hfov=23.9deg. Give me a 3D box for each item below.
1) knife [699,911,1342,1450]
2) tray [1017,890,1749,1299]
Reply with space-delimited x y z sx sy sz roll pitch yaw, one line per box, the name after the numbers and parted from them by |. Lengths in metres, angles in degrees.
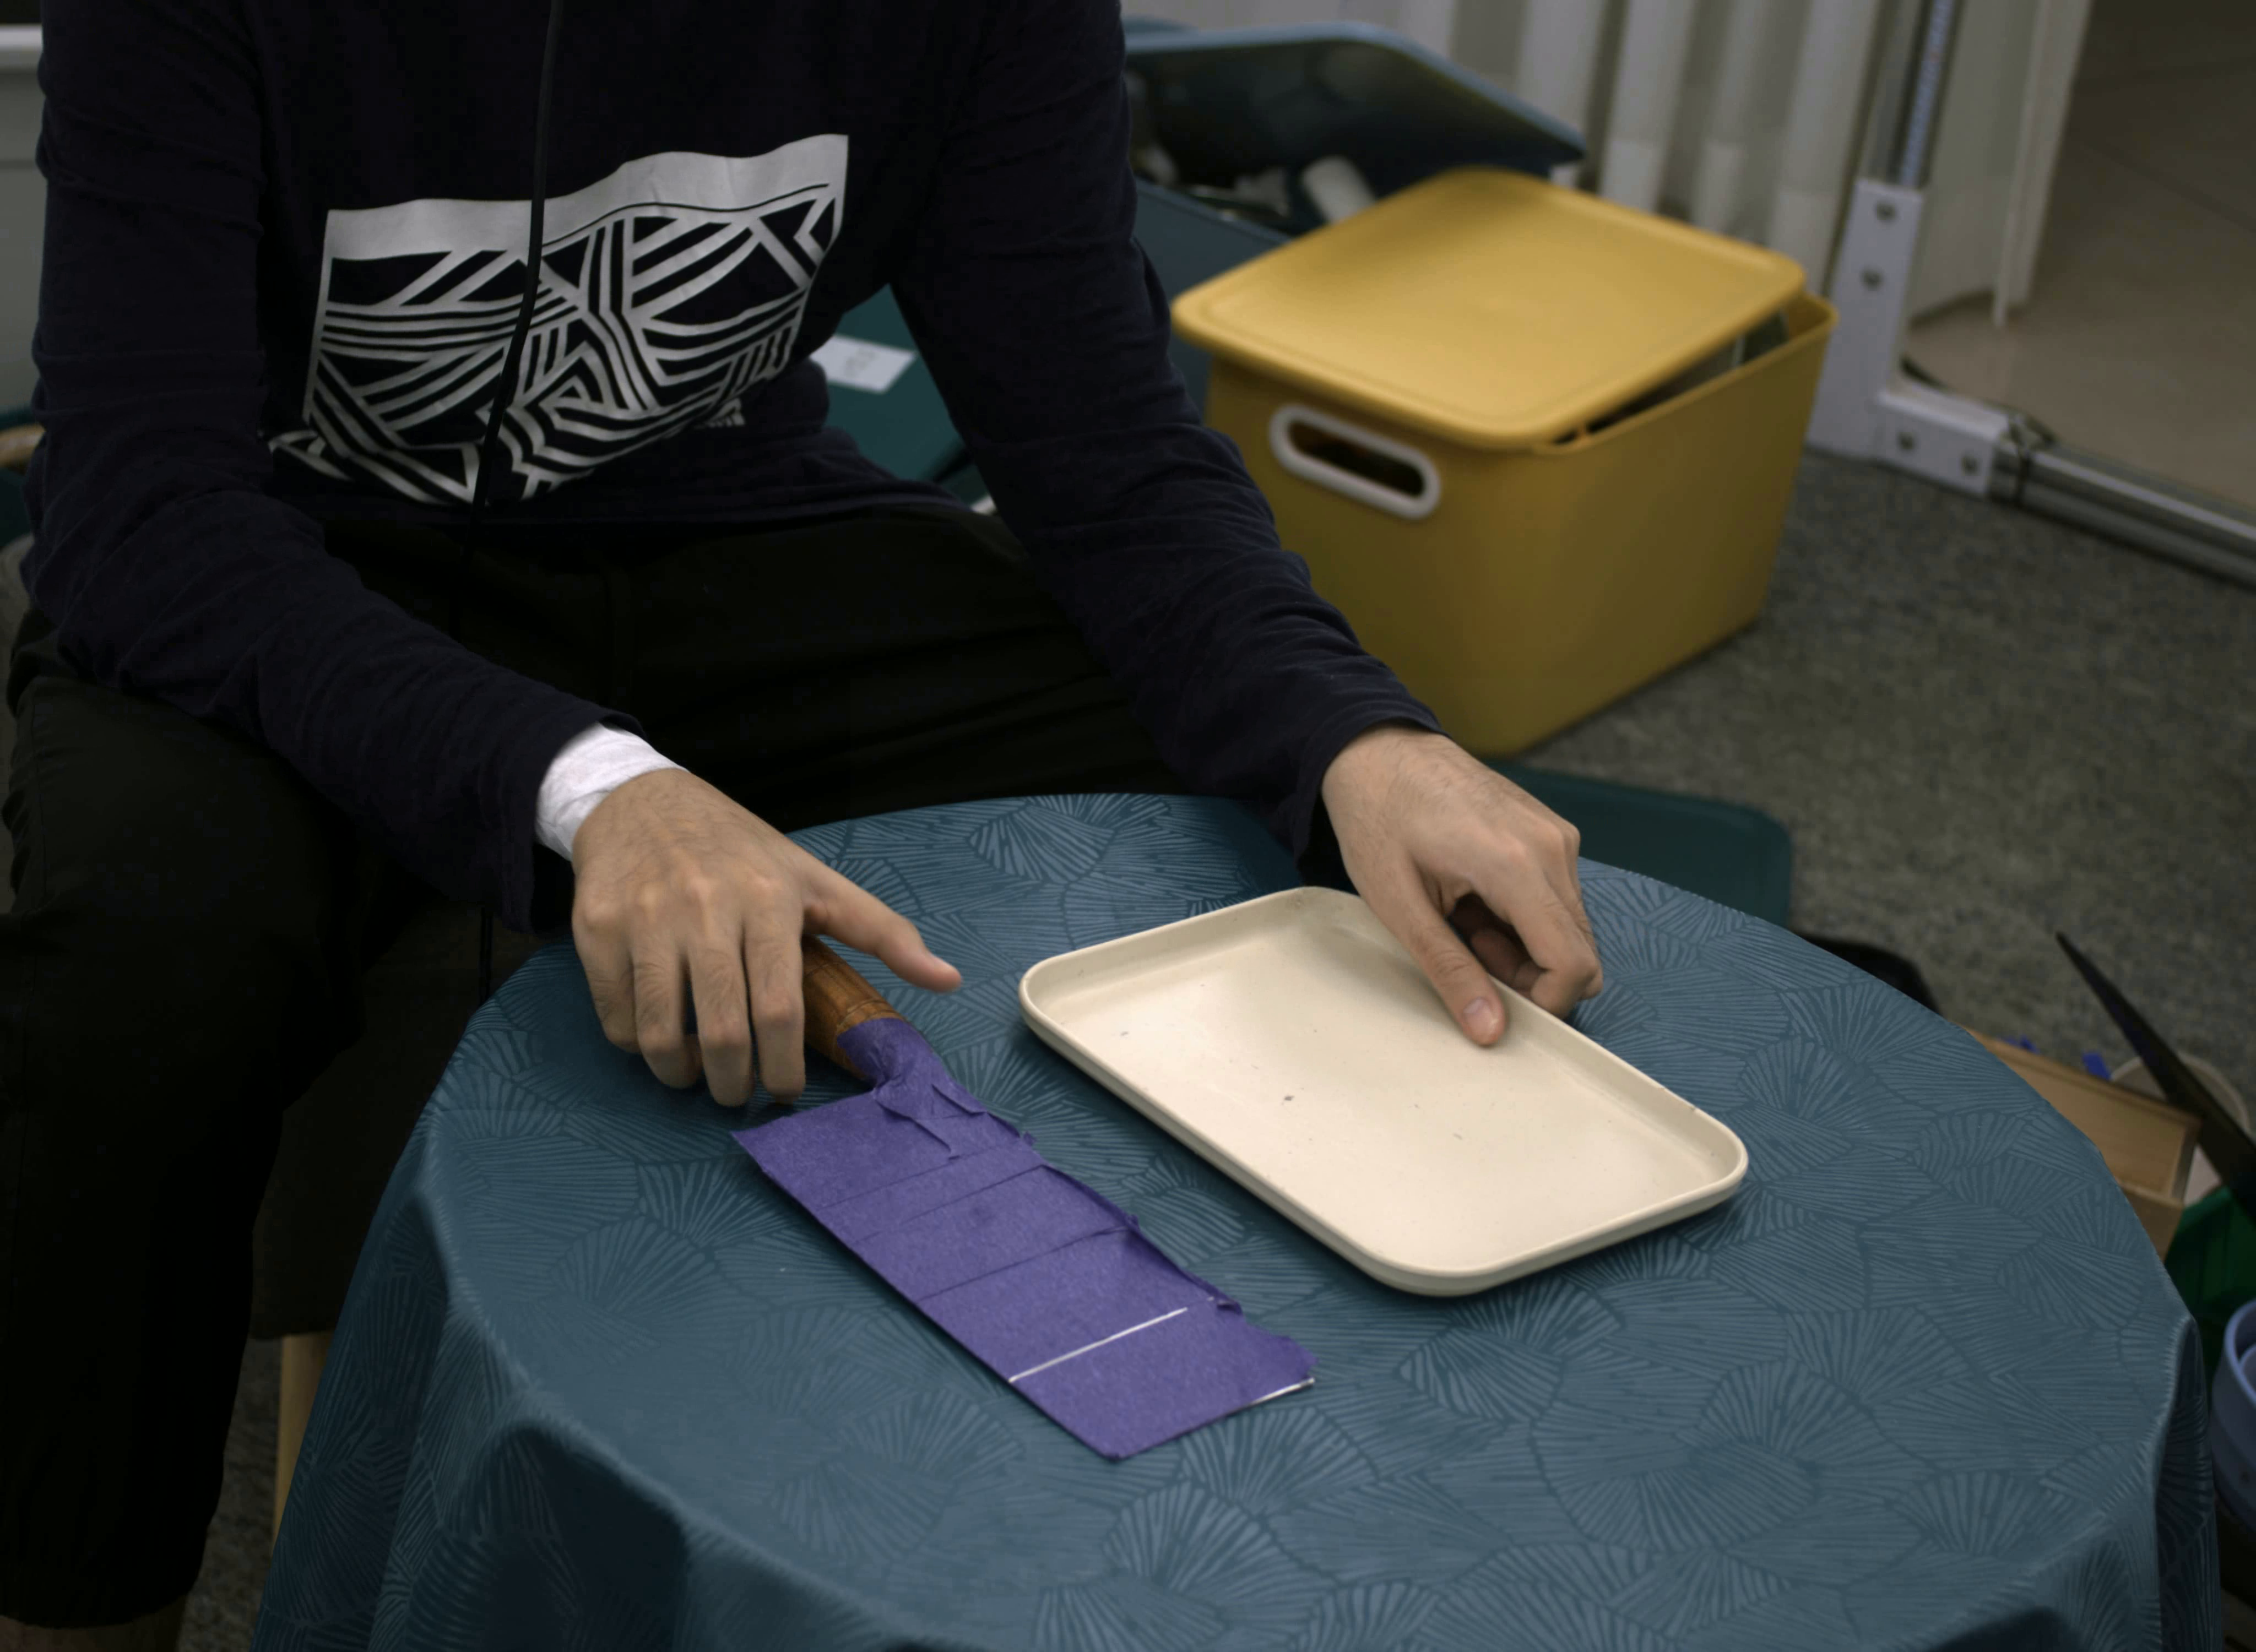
-0.066 0.114 1.780 0.103 0.032 0.318 -15 34 -37 | knife
0.087 0.092 1.867 0.170 0.017 0.242 -15 34 -36 | tray
